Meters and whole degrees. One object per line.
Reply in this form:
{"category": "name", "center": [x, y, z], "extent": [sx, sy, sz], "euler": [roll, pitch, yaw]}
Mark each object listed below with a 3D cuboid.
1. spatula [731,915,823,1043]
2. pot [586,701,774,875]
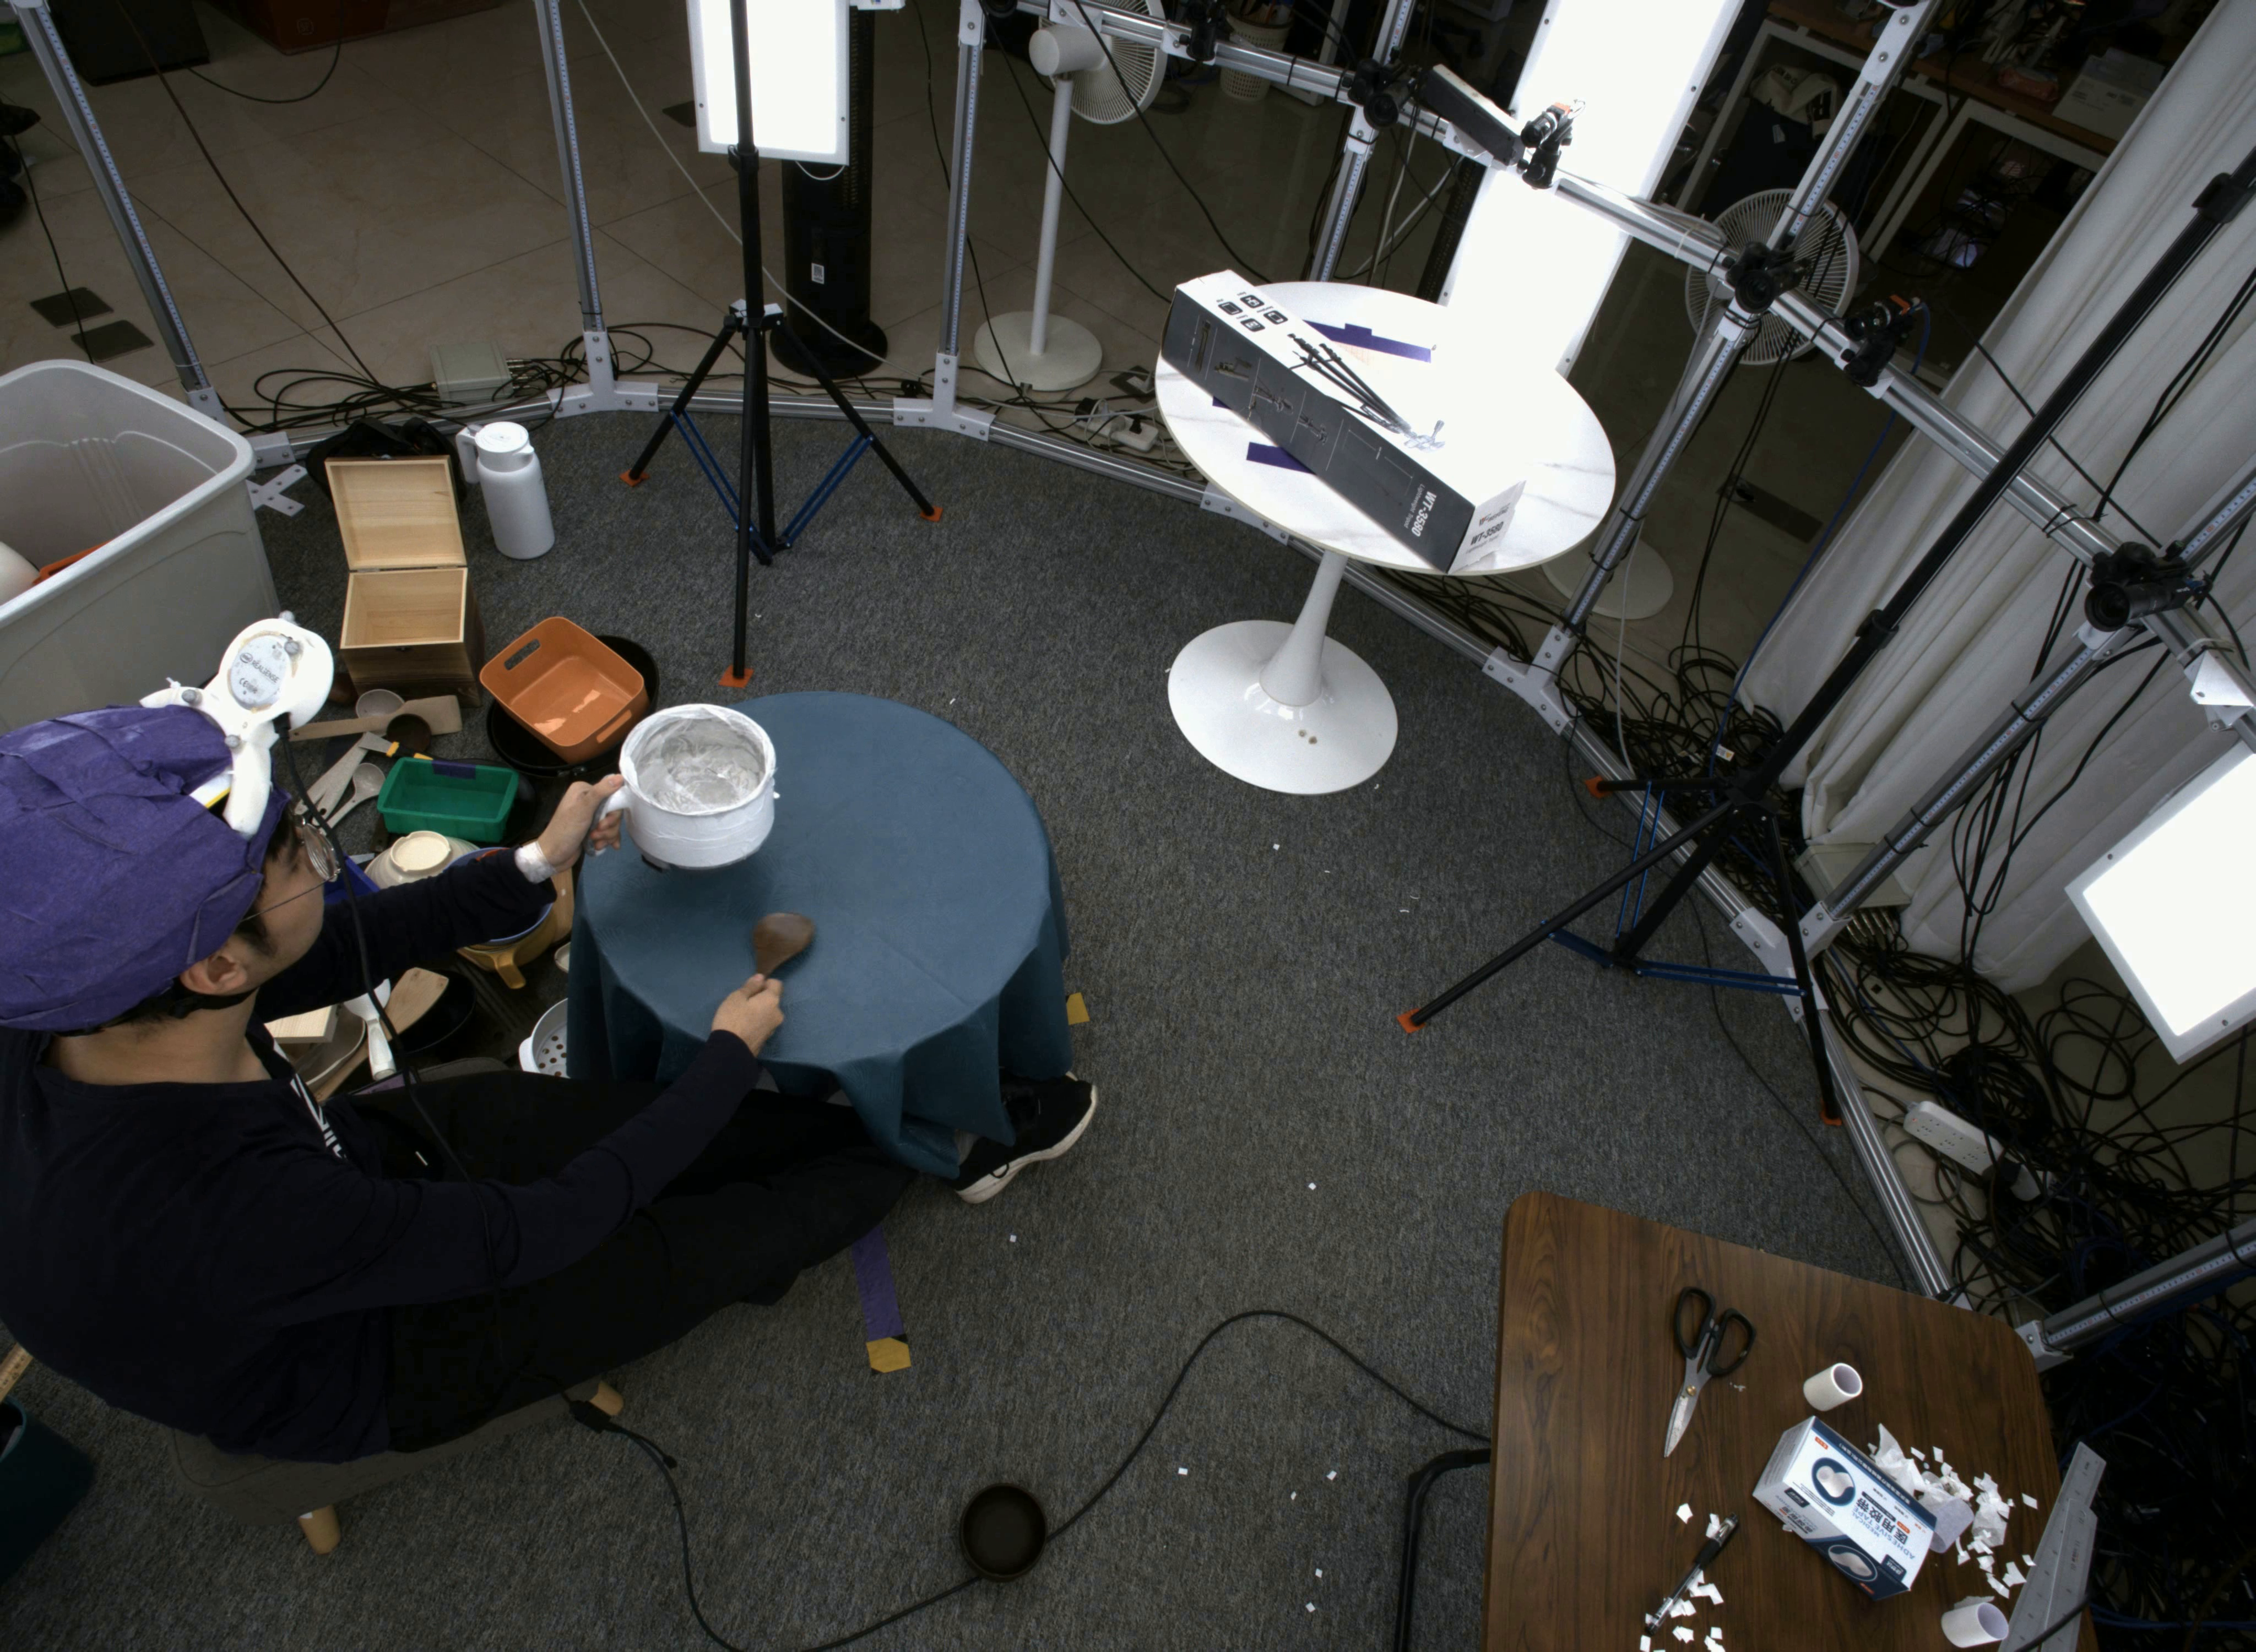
{"category": "spatula", "center": [-0.434, 0.179, 1.572], "extent": [0.070, 0.009, 0.213], "euler": [9, 42, 7]}
{"category": "pot", "center": [-0.540, -0.035, 1.540], "extent": [0.235, 0.139, 0.174], "euler": [-19, 56, -31]}
